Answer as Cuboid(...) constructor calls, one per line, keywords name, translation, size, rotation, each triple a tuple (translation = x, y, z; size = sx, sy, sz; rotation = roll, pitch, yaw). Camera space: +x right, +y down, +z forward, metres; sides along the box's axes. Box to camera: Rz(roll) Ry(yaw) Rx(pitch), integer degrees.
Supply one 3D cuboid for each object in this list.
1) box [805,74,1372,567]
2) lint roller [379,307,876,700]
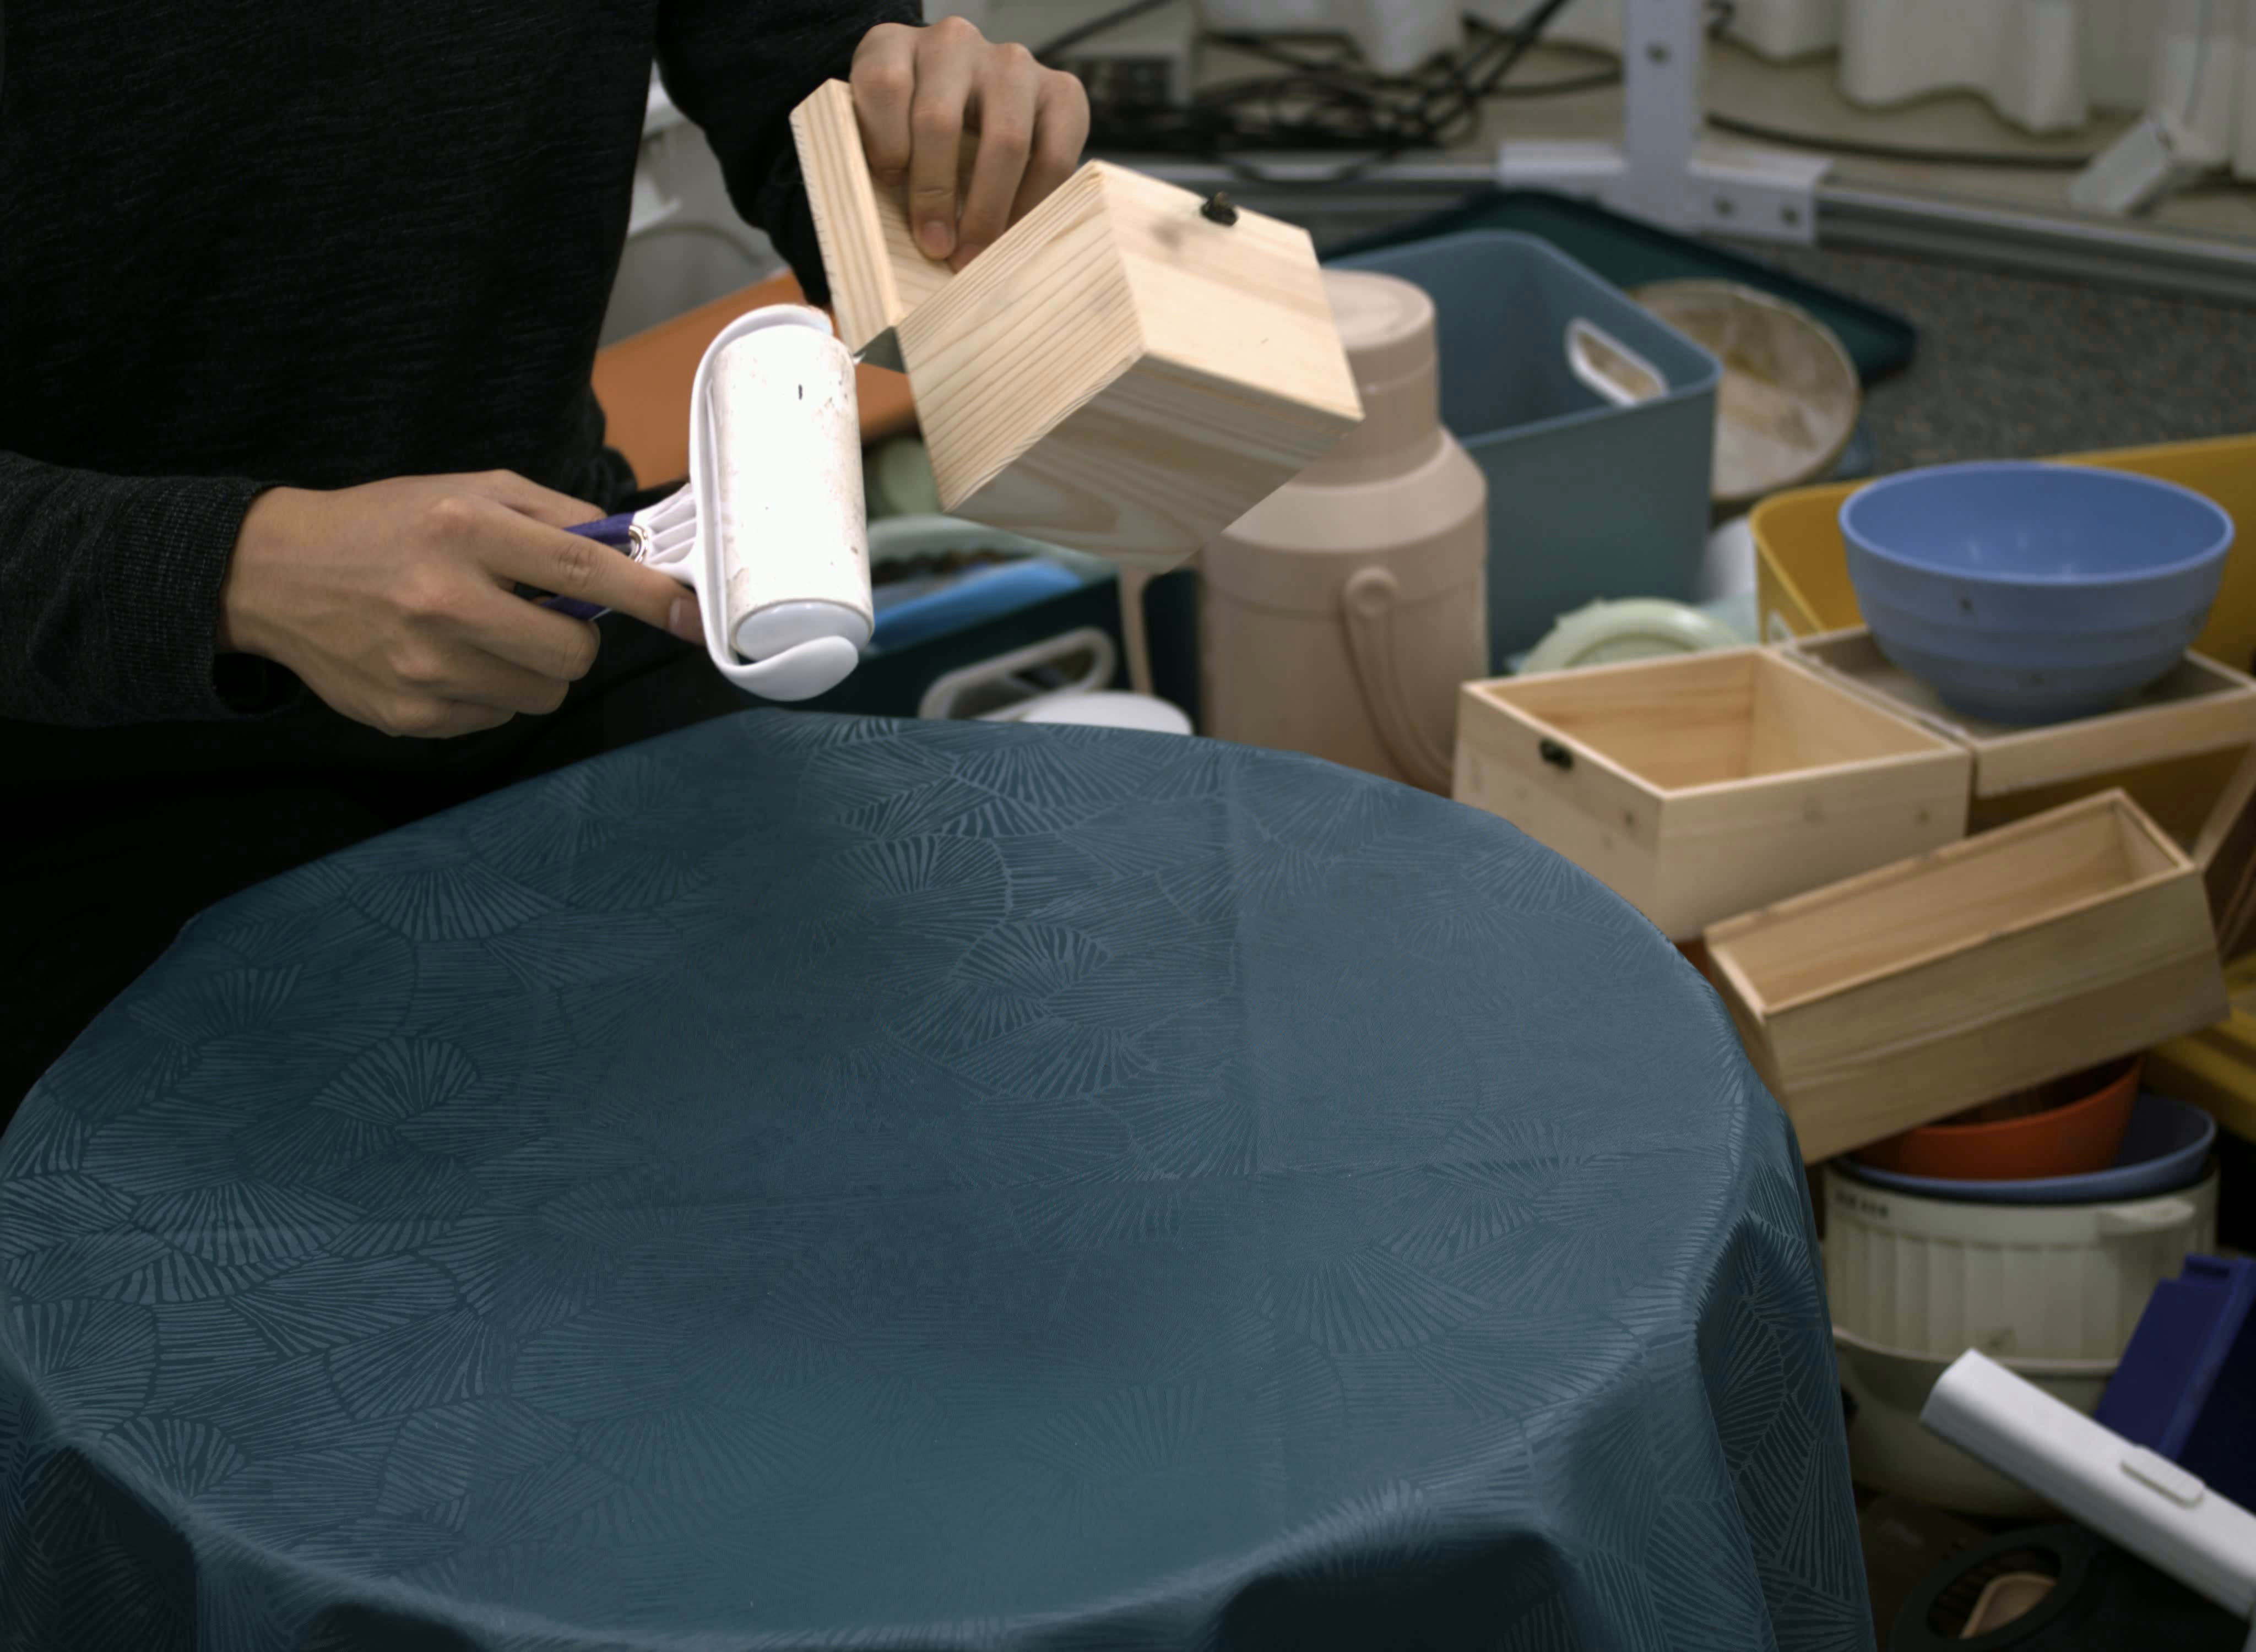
Cuboid(name="box", translation=(-0.014, -0.193, 1.893), size=(0.102, 0.132, 0.187), rotation=(15, 48, -42))
Cuboid(name="lint roller", translation=(-0.168, -0.091, 1.815), size=(0.179, 0.050, 0.135), rotation=(-12, 62, 15))
